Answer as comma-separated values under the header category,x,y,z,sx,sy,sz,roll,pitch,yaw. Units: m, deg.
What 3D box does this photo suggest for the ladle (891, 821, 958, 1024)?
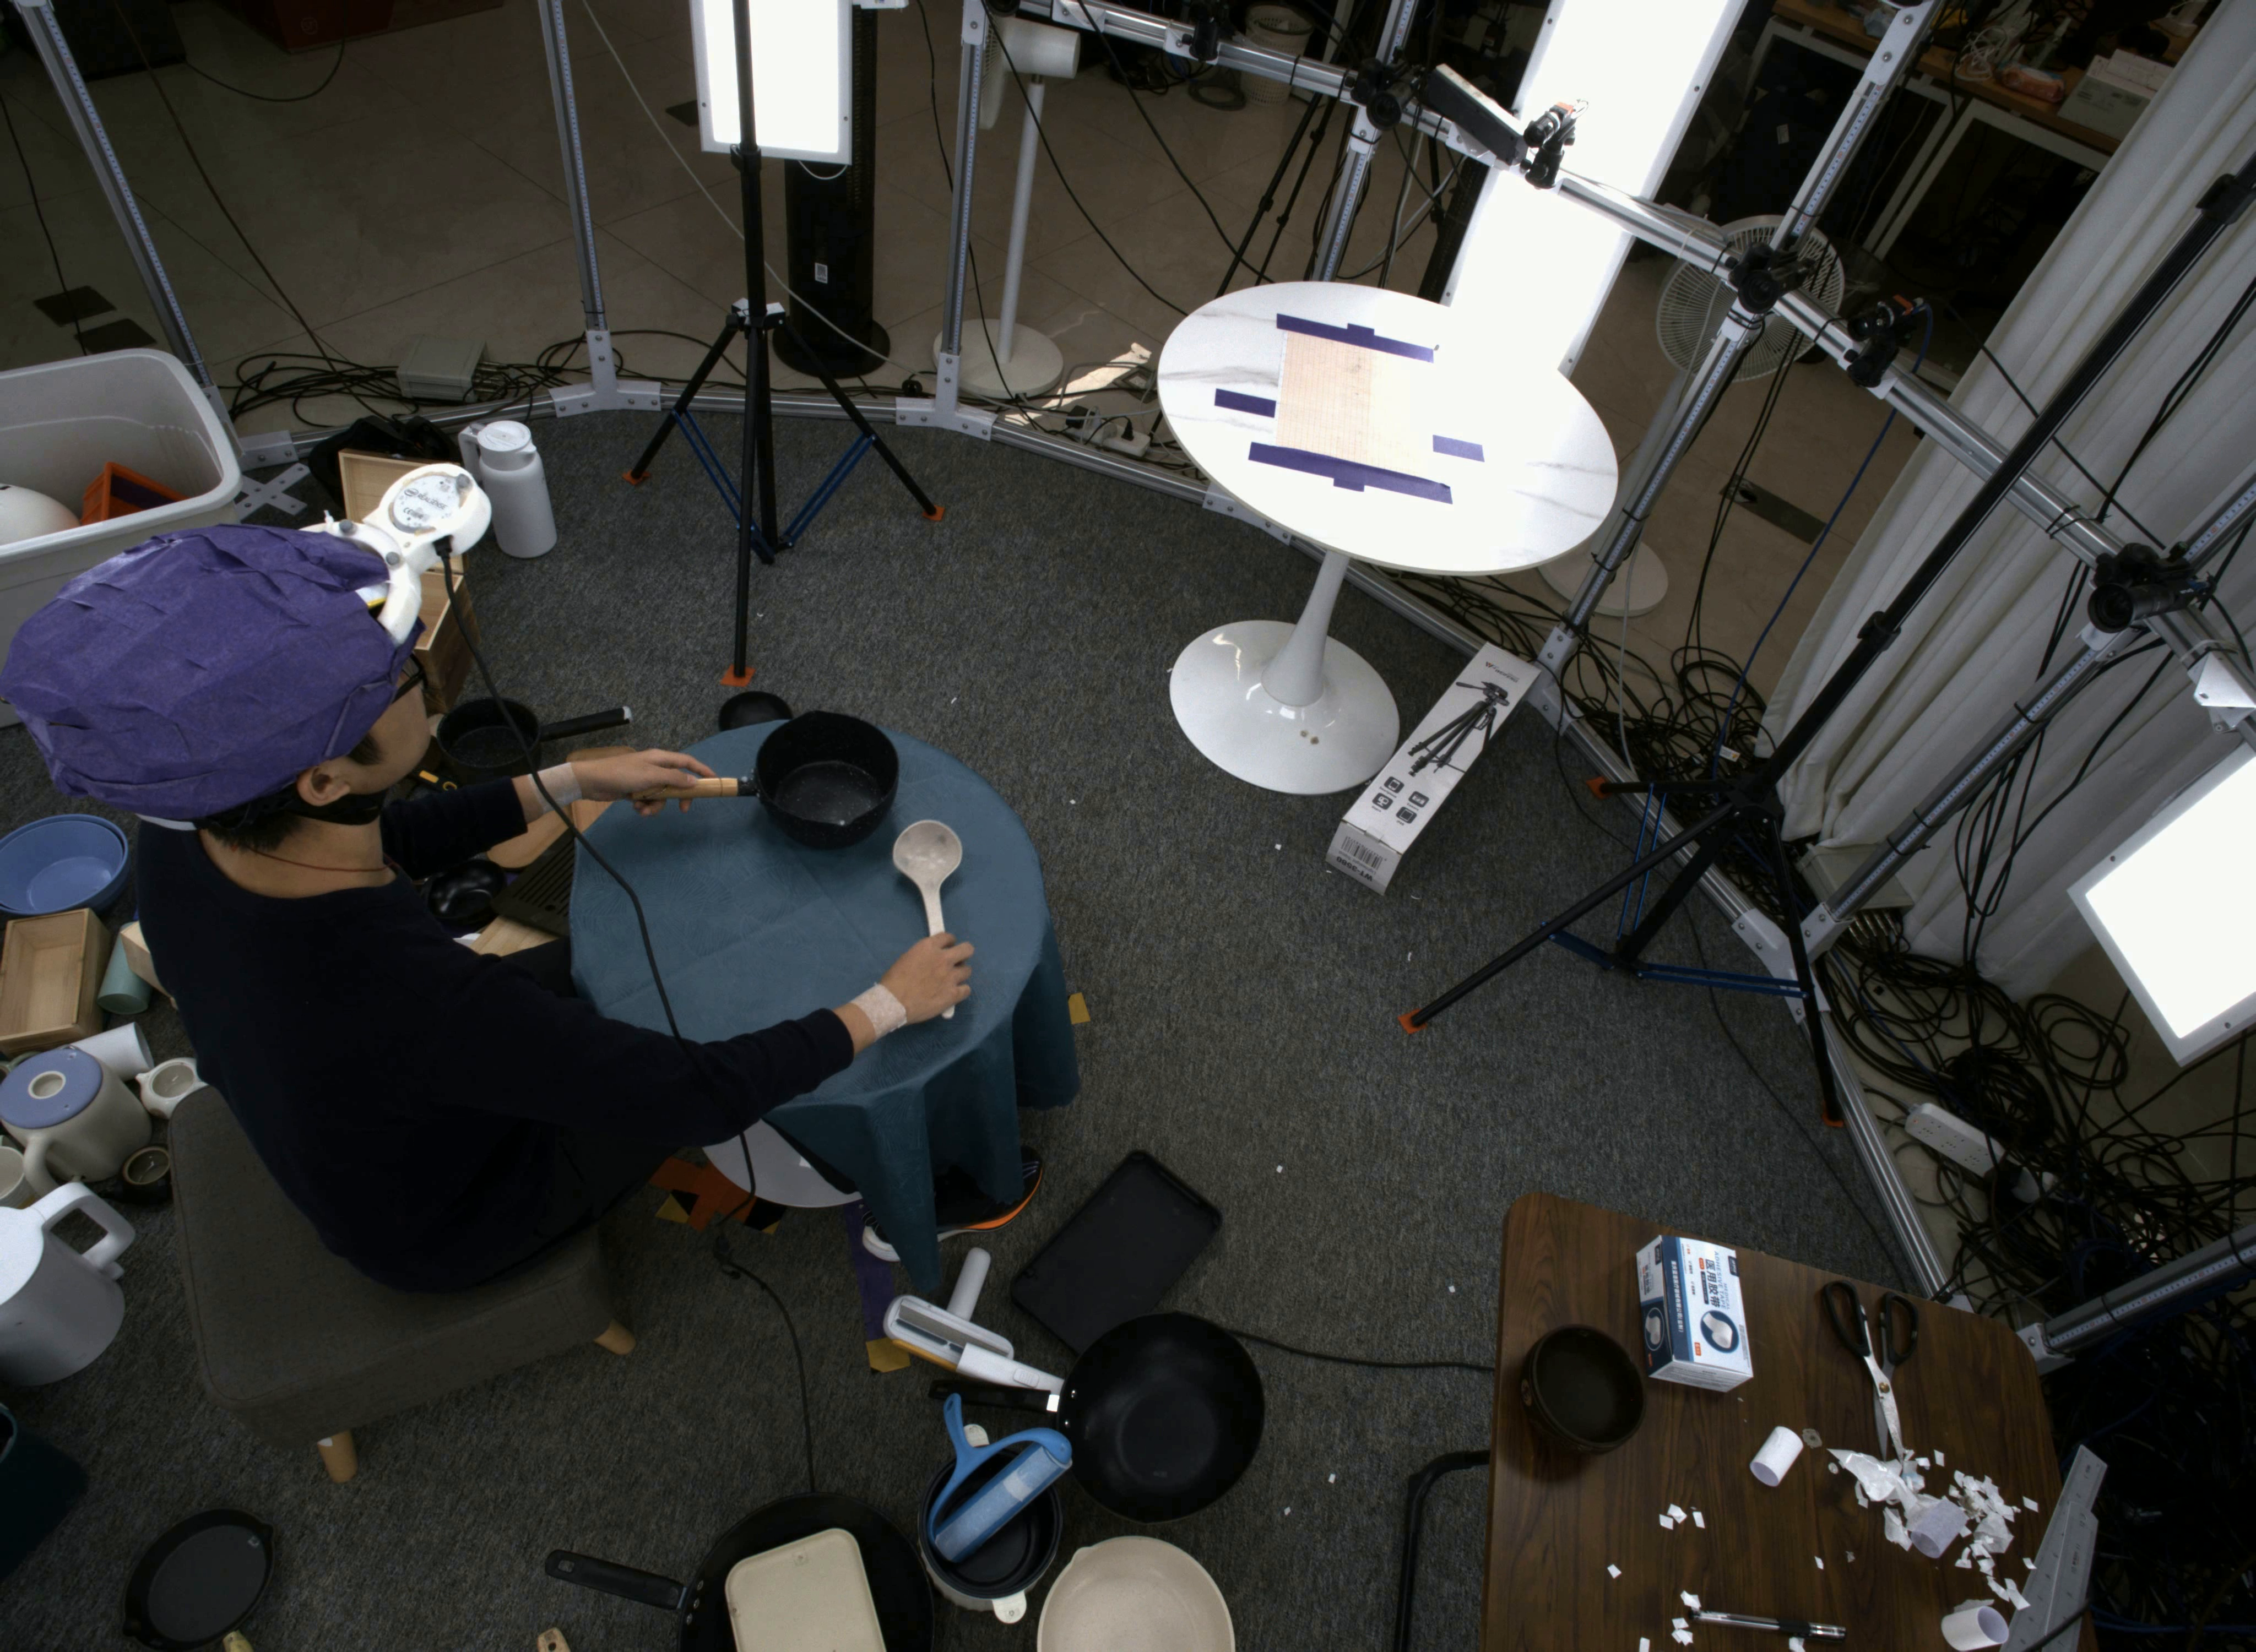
category,x,y,z,sx,sy,sz,roll,pitch,yaw
ladle,-0.240,0.112,1.614,0.090,0.070,0.267,4,45,-23

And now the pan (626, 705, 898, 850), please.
category,x,y,z,sx,sy,sz,roll,pitch,yaw
pan,-0.468,-0.047,1.668,0.344,0.110,0.202,-11,58,-23
